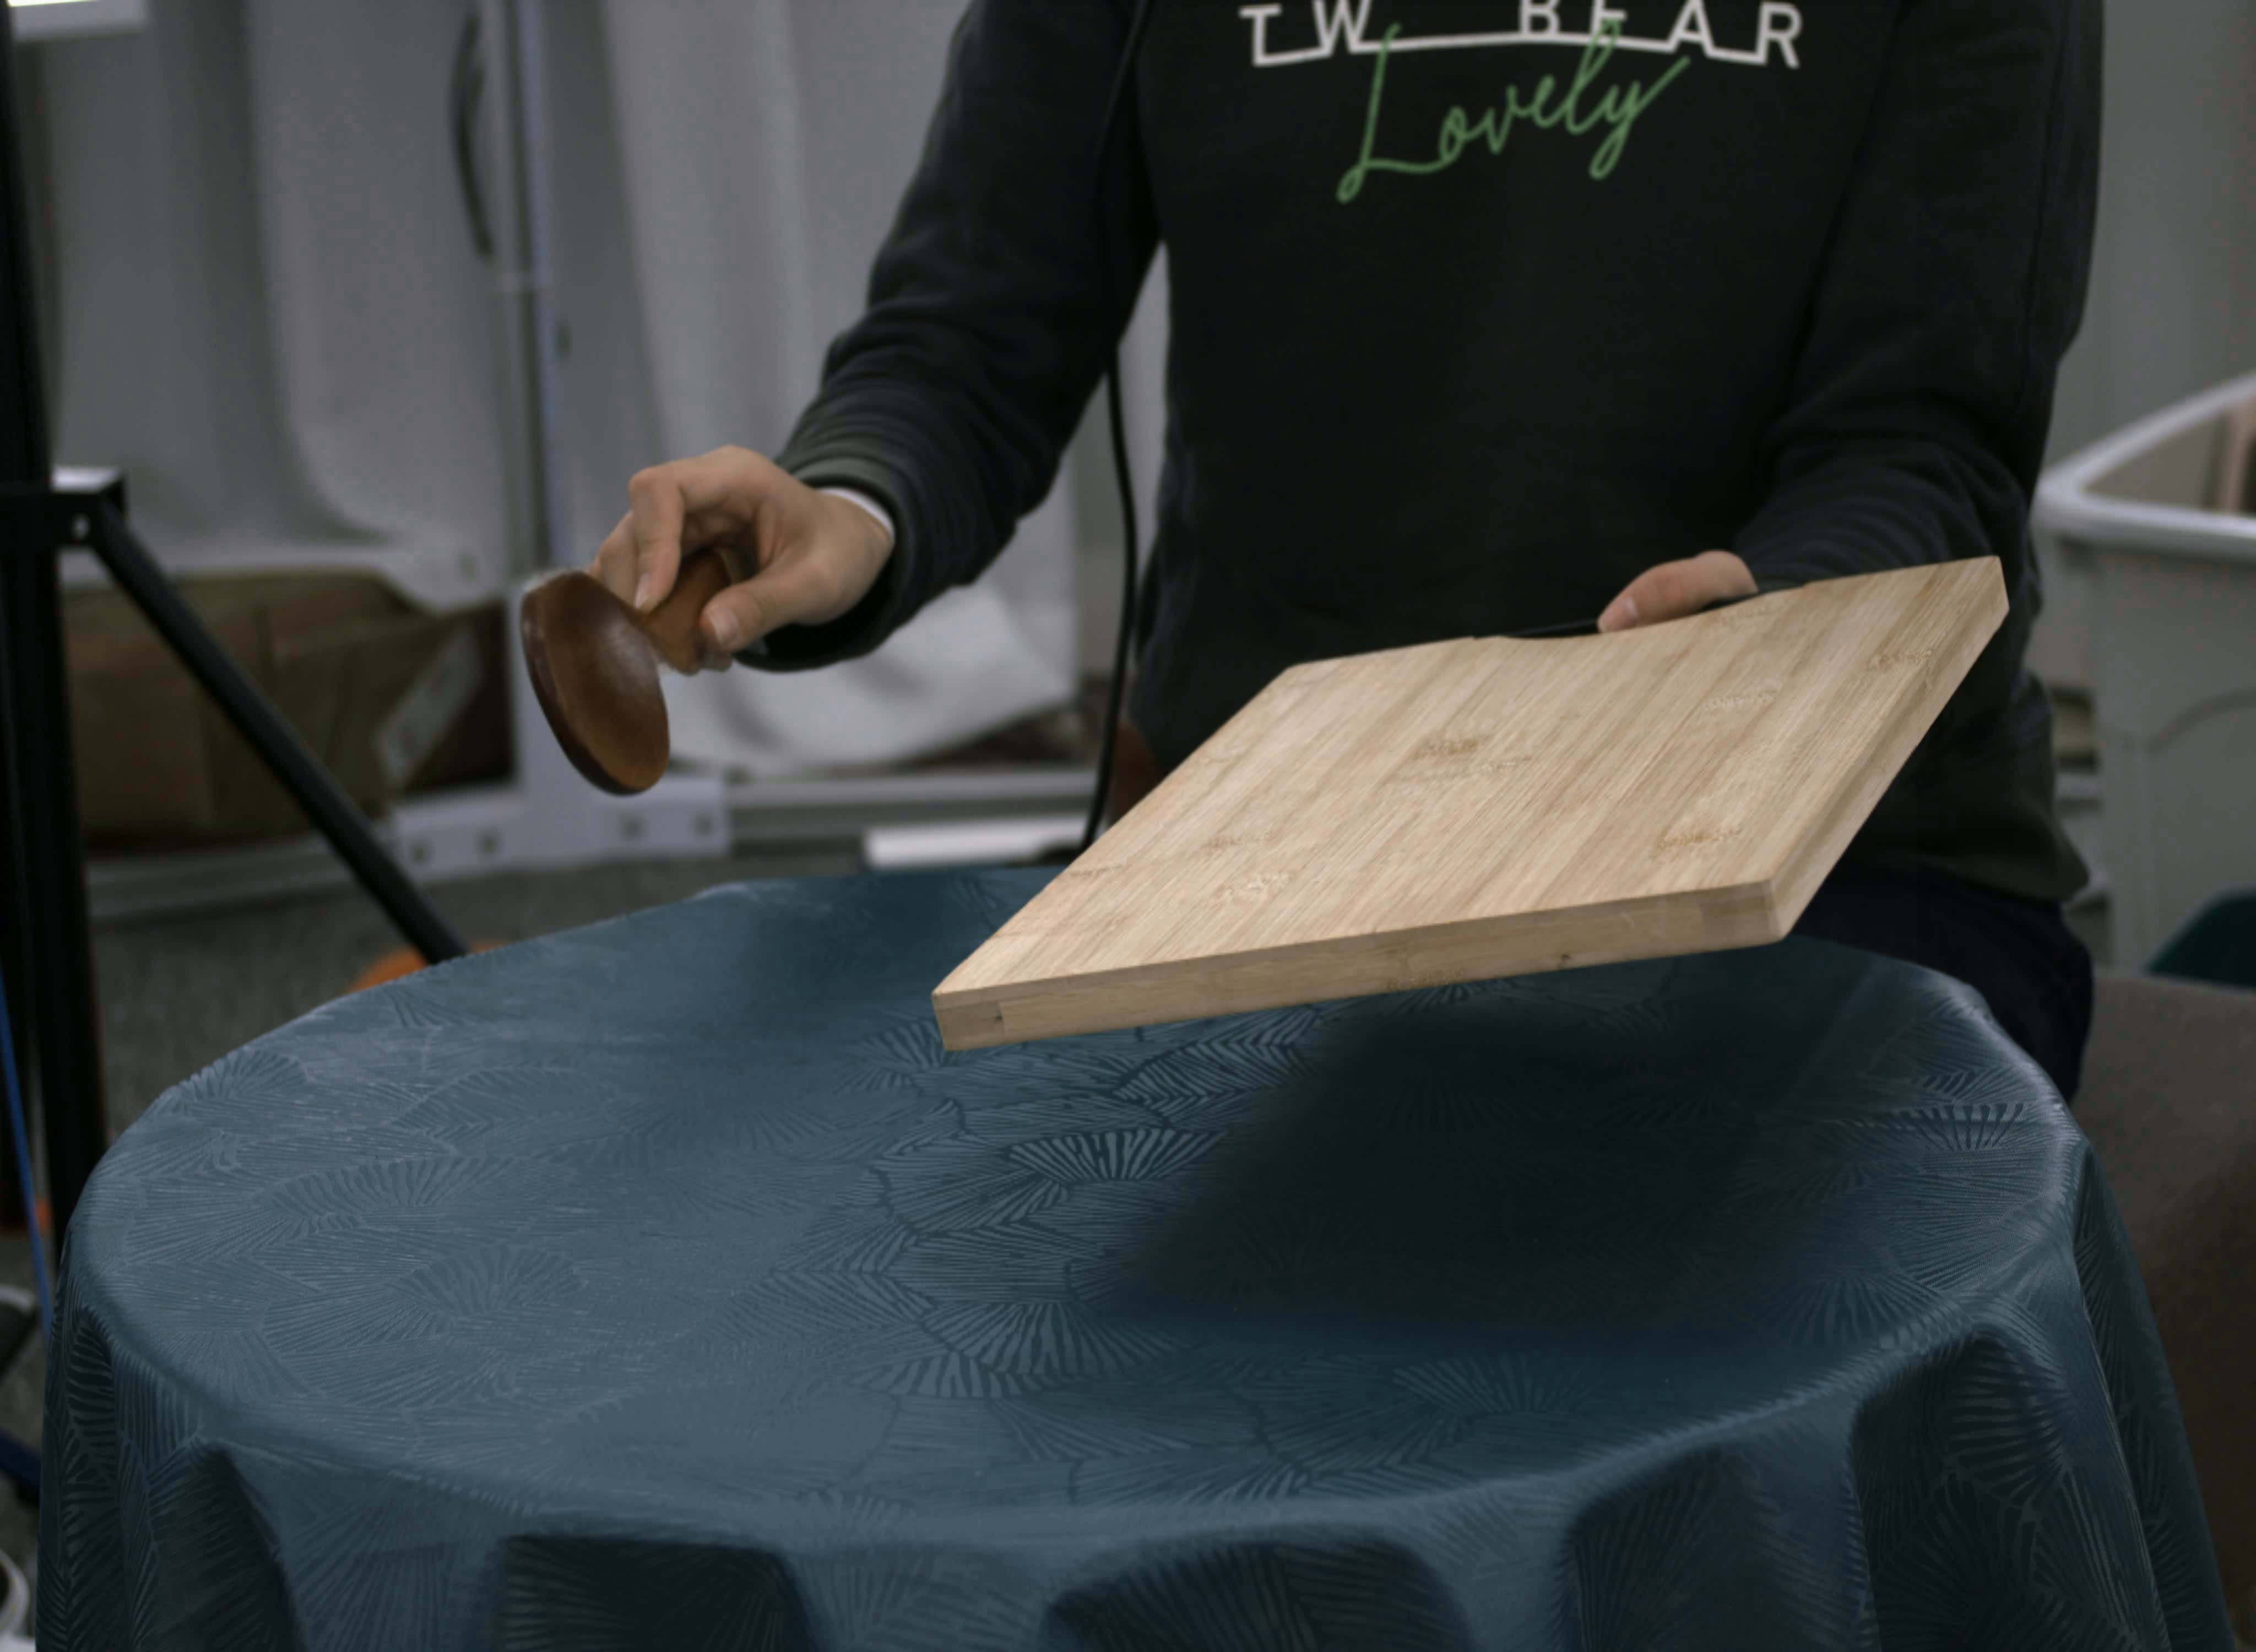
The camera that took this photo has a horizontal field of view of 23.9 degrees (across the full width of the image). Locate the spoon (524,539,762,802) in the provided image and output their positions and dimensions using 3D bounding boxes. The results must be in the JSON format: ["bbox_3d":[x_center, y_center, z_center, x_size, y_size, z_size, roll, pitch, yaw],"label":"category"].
[{"bbox_3d":[-0.151,-0.058,1.696,0.017,0.075,0.214,-24,9,17],"label":"spoon"}]

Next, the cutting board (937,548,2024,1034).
[{"bbox_3d":[0.114,-0.012,1.557,0.253,0.023,0.345,-8,14,21],"label":"cutting board"}]
